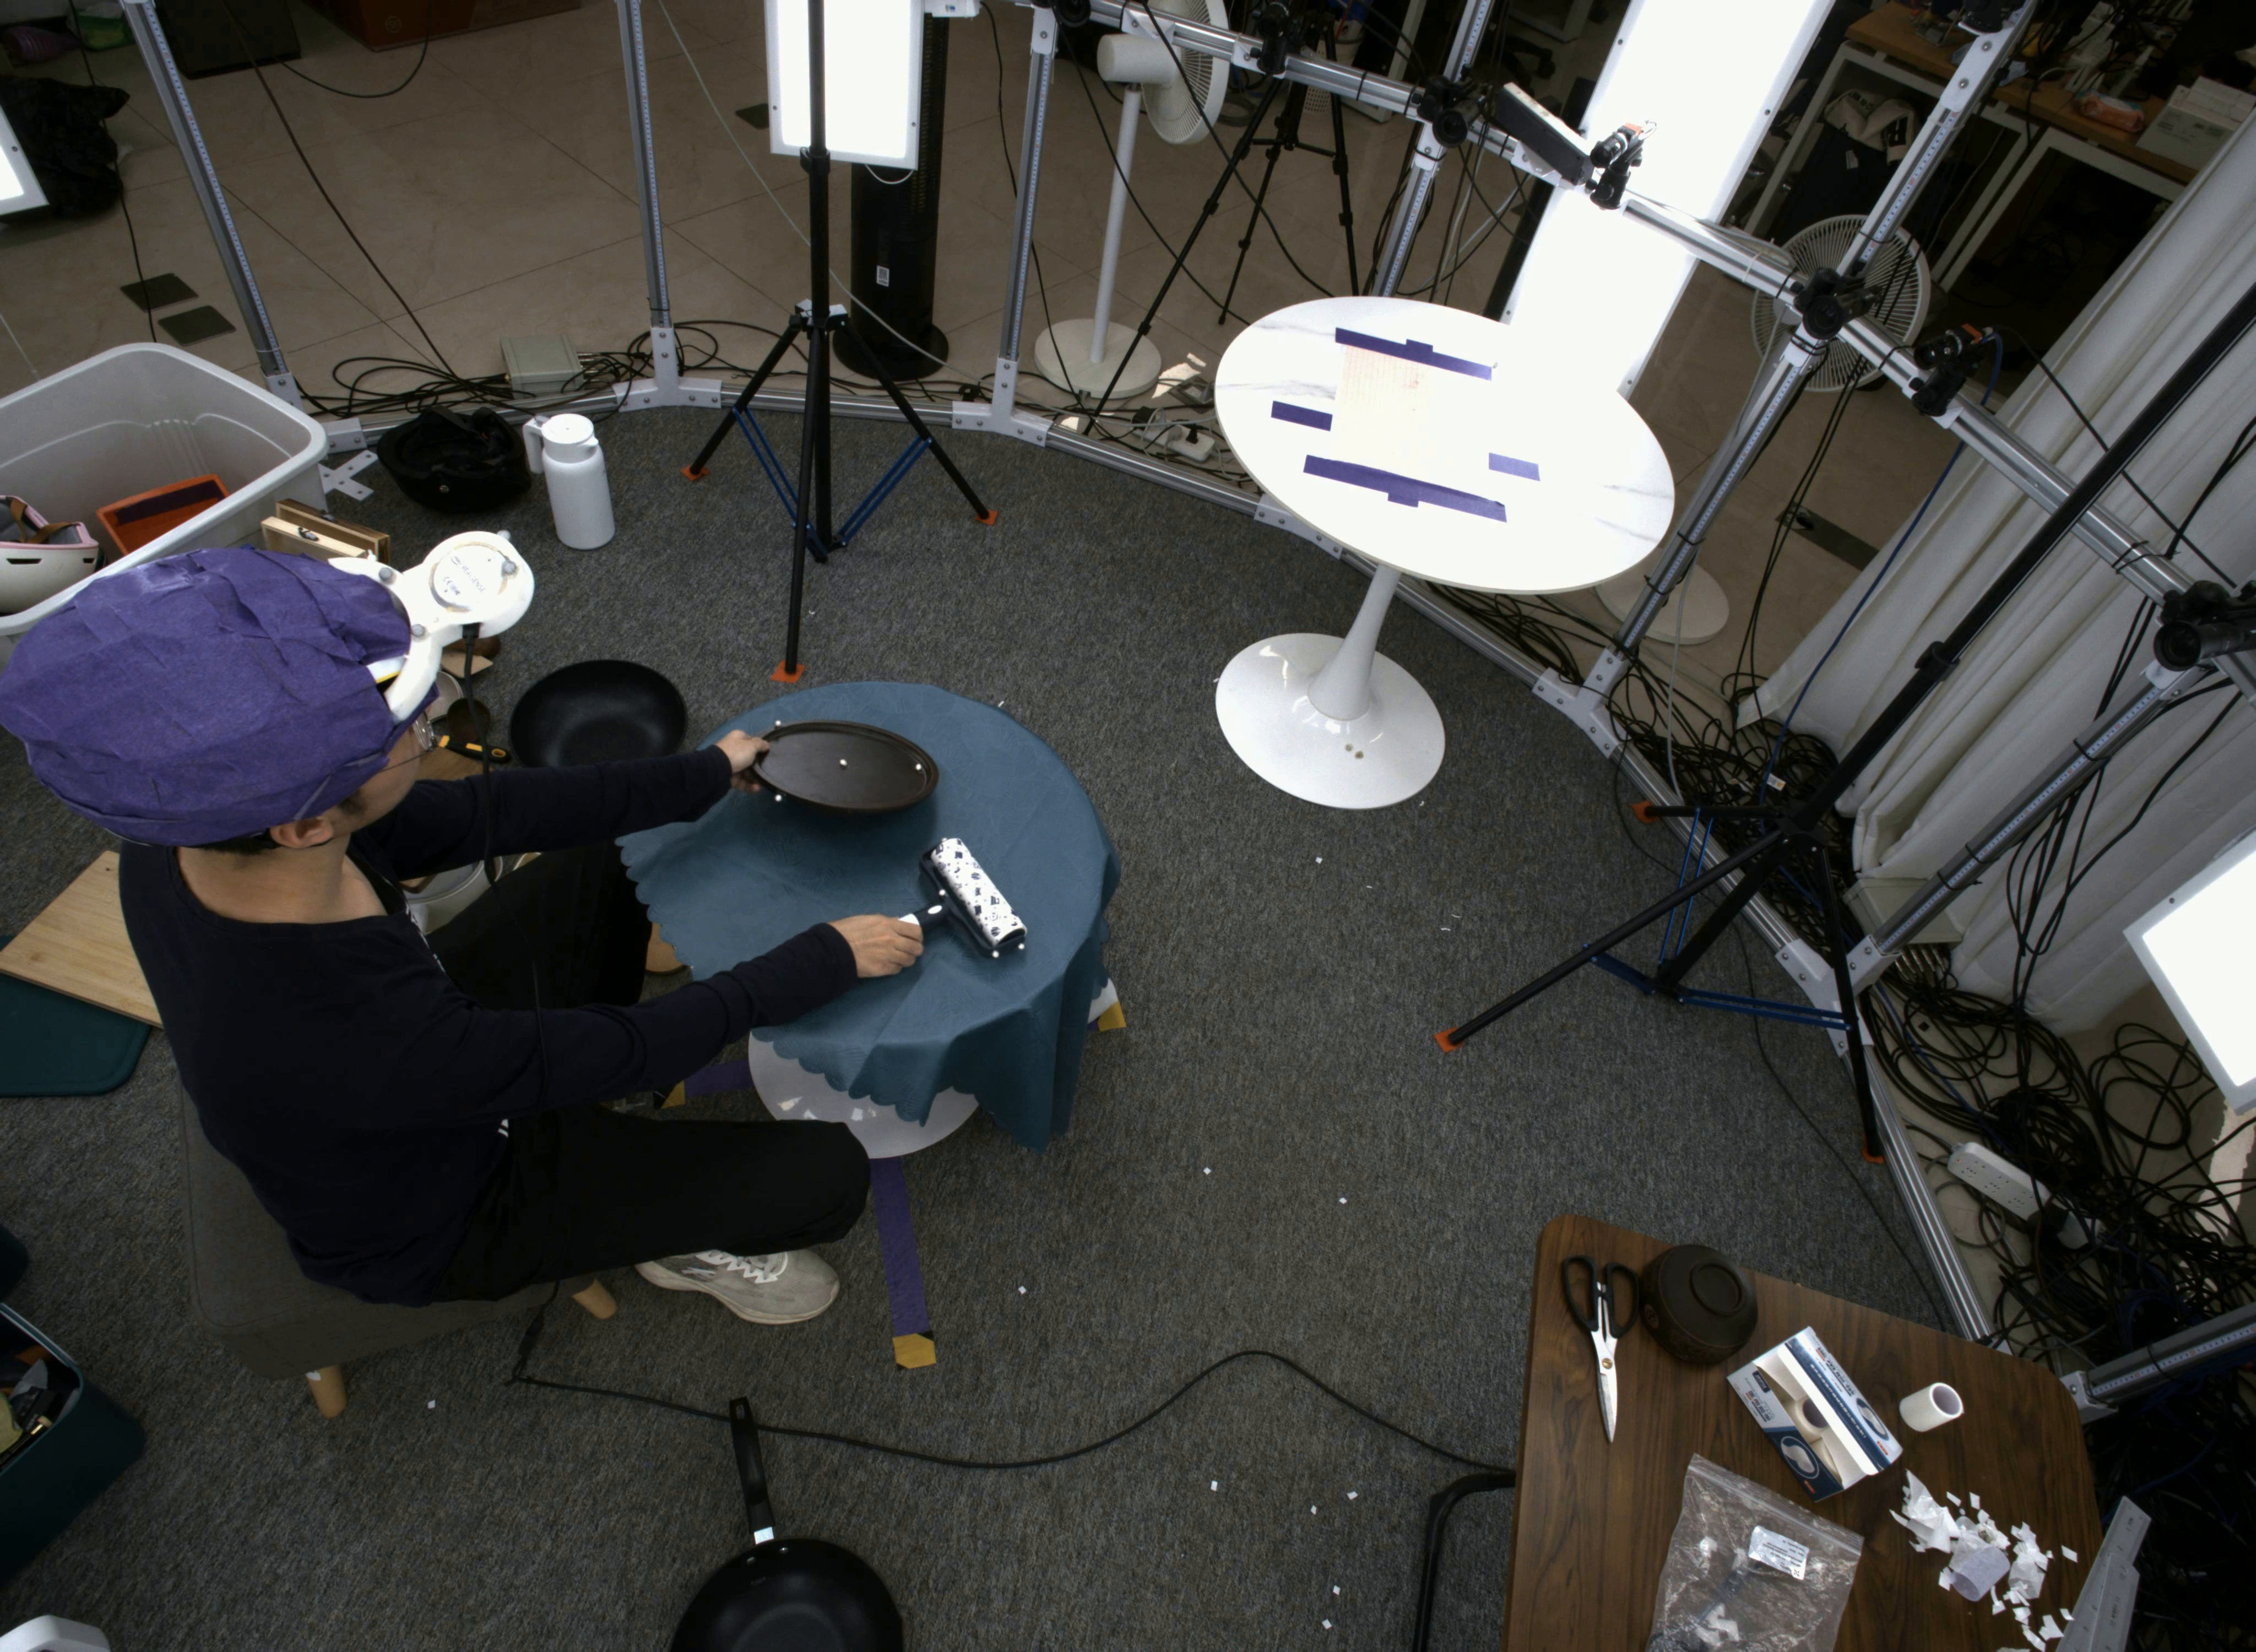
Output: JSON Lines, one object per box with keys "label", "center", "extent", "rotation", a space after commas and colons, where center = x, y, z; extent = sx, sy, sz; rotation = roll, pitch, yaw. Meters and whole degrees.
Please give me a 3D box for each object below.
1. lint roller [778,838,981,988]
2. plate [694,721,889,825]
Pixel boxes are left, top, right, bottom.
{"label": "lint roller", "center": [-0.328, 0.129, 1.632], "extent": [0.248, 0.051, 0.172], "rotation": [-30, 67, -30]}
{"label": "plate", "center": [-0.444, -0.072, 1.712], "extent": [0.253, 0.030, 0.250], "rotation": [11, 29, -5]}
